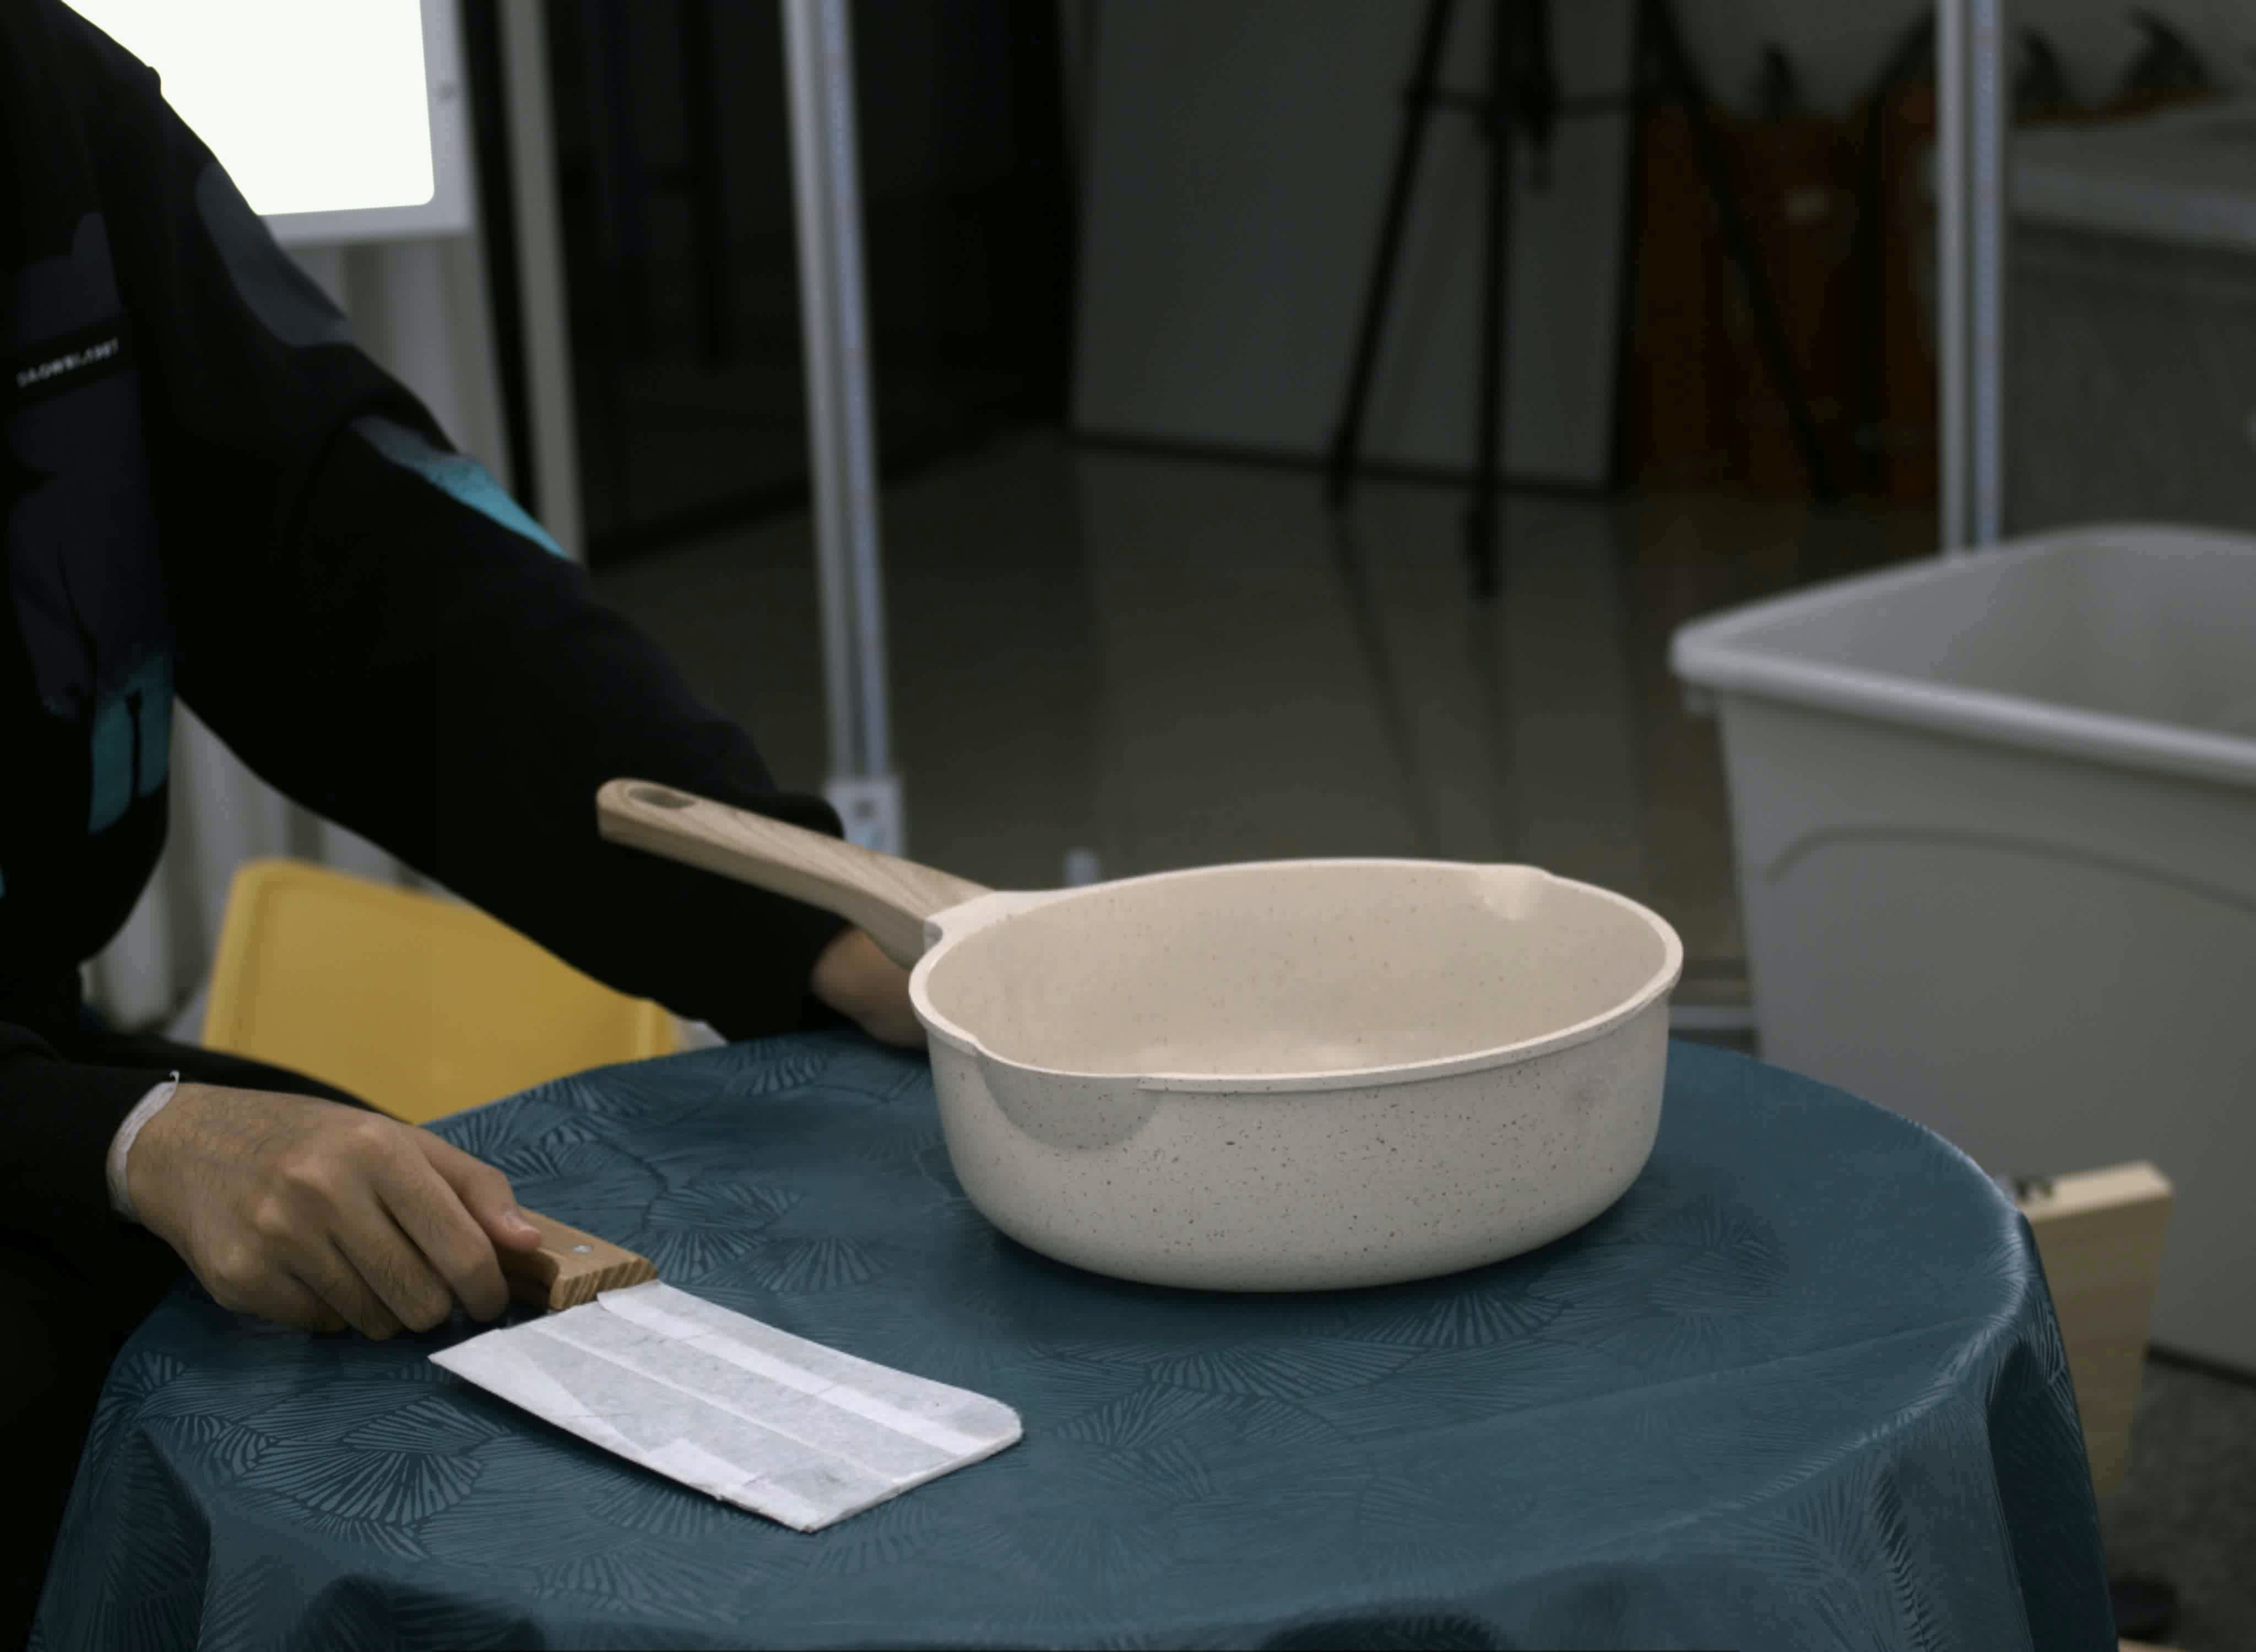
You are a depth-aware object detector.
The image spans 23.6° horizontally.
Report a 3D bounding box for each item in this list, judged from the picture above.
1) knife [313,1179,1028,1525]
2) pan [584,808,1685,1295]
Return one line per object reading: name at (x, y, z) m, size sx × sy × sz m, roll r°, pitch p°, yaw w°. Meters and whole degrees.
knife at (-0.152, 0.156, 1.638) m, size 0.111 × 0.022 × 0.319 m, roll -15°, pitch 20°, yaw -35°
pan at (-0.014, 0.064, 1.800) m, size 0.438 × 0.103 × 0.258 m, roll 7°, pitch 20°, yaw 39°
